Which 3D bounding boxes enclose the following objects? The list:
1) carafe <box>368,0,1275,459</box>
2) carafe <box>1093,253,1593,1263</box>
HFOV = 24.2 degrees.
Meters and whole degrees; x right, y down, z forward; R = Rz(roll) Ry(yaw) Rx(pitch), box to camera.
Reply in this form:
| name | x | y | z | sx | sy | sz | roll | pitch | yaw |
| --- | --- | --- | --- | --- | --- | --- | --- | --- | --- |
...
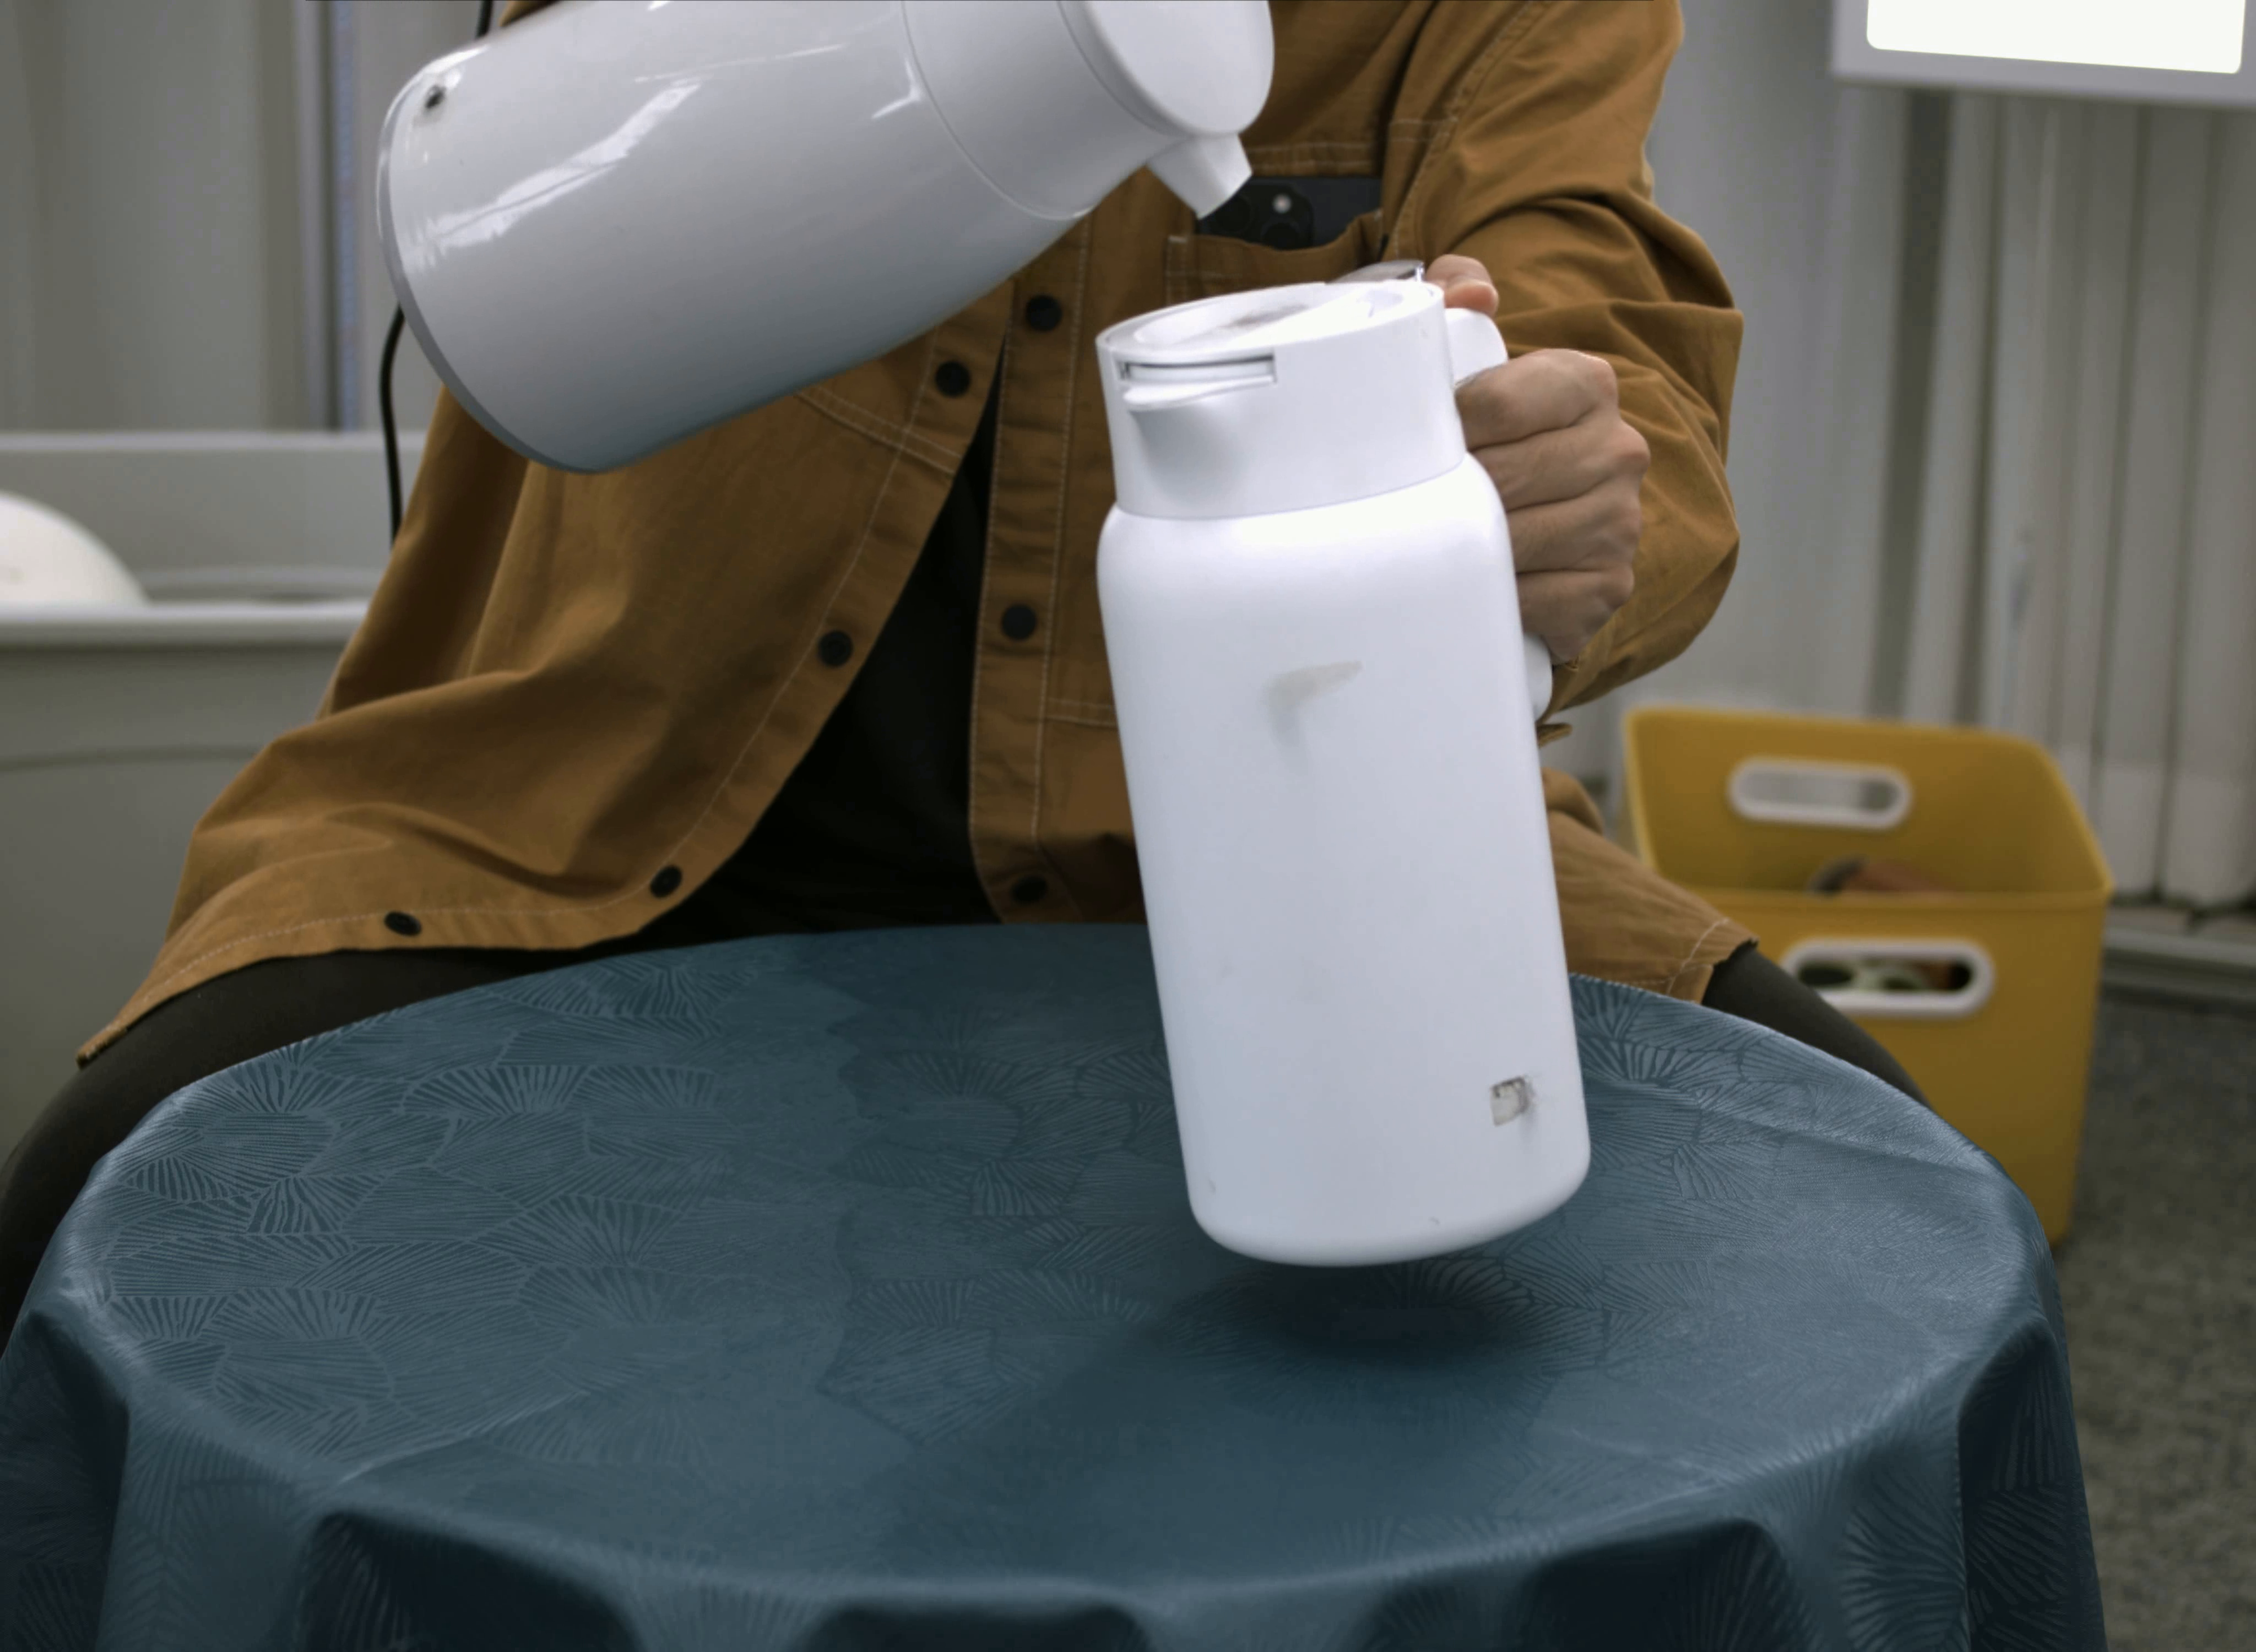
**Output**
| name | x | y | z | sx | sy | sz | roll | pitch | yaw |
| --- | --- | --- | --- | --- | --- | --- | --- | --- | --- |
| carafe | -0.089 | -0.217 | 1.470 | 0.247 | 0.169 | 0.132 | -18 | 21 | 33 |
| carafe | 0.066 | -0.023 | 1.501 | 0.122 | 0.271 | 0.173 | -1 | 16 | 34 |
